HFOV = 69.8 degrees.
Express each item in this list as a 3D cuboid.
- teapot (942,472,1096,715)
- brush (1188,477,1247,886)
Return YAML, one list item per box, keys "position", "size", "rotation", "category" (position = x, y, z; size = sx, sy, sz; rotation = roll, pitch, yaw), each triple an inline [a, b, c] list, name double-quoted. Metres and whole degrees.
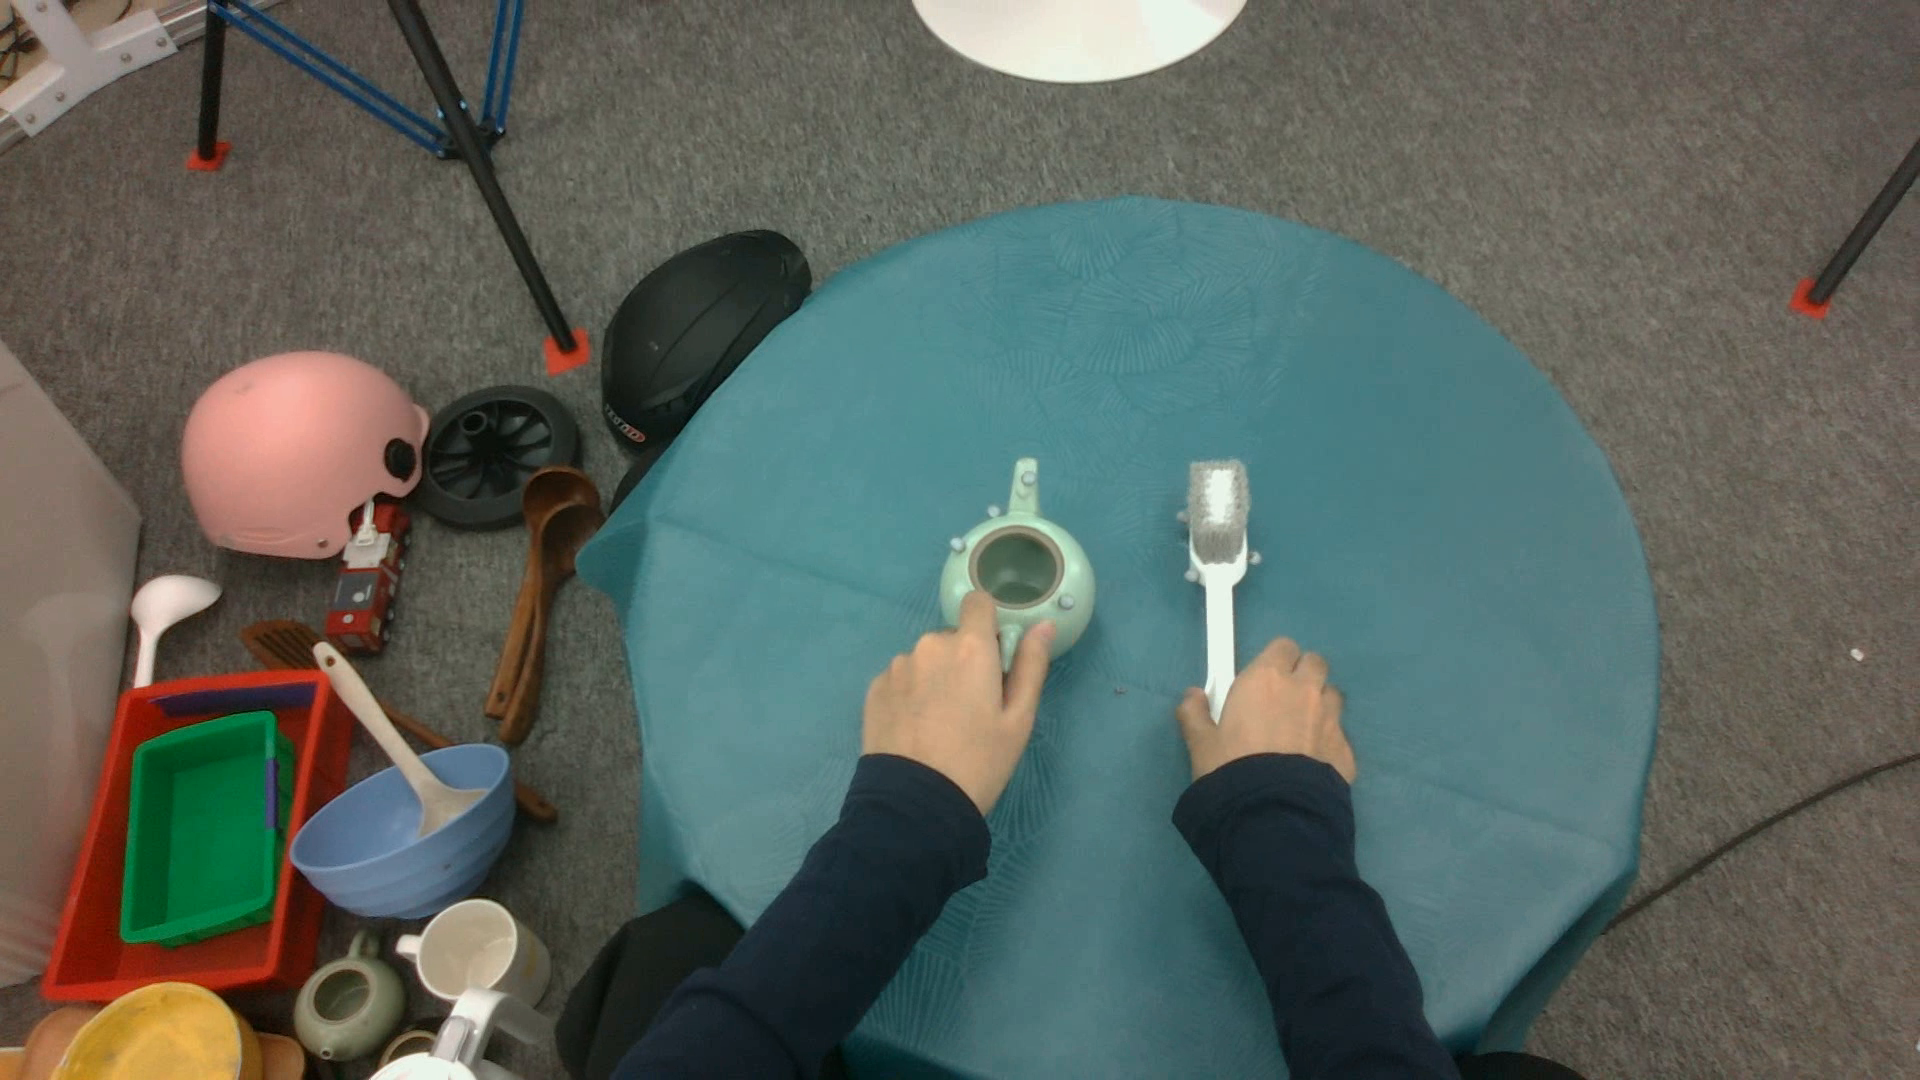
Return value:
- position: [0.034, 0.037, 0.787]
  size: [0.088, 0.074, 0.144]
  rotation: [5, 58, 5]
  category: "teapot"
- position: [0.143, 0.069, 0.771]
  size: [0.034, 0.050, 0.245]
  rotation: [1, 57, 11]
  category: "brush"
